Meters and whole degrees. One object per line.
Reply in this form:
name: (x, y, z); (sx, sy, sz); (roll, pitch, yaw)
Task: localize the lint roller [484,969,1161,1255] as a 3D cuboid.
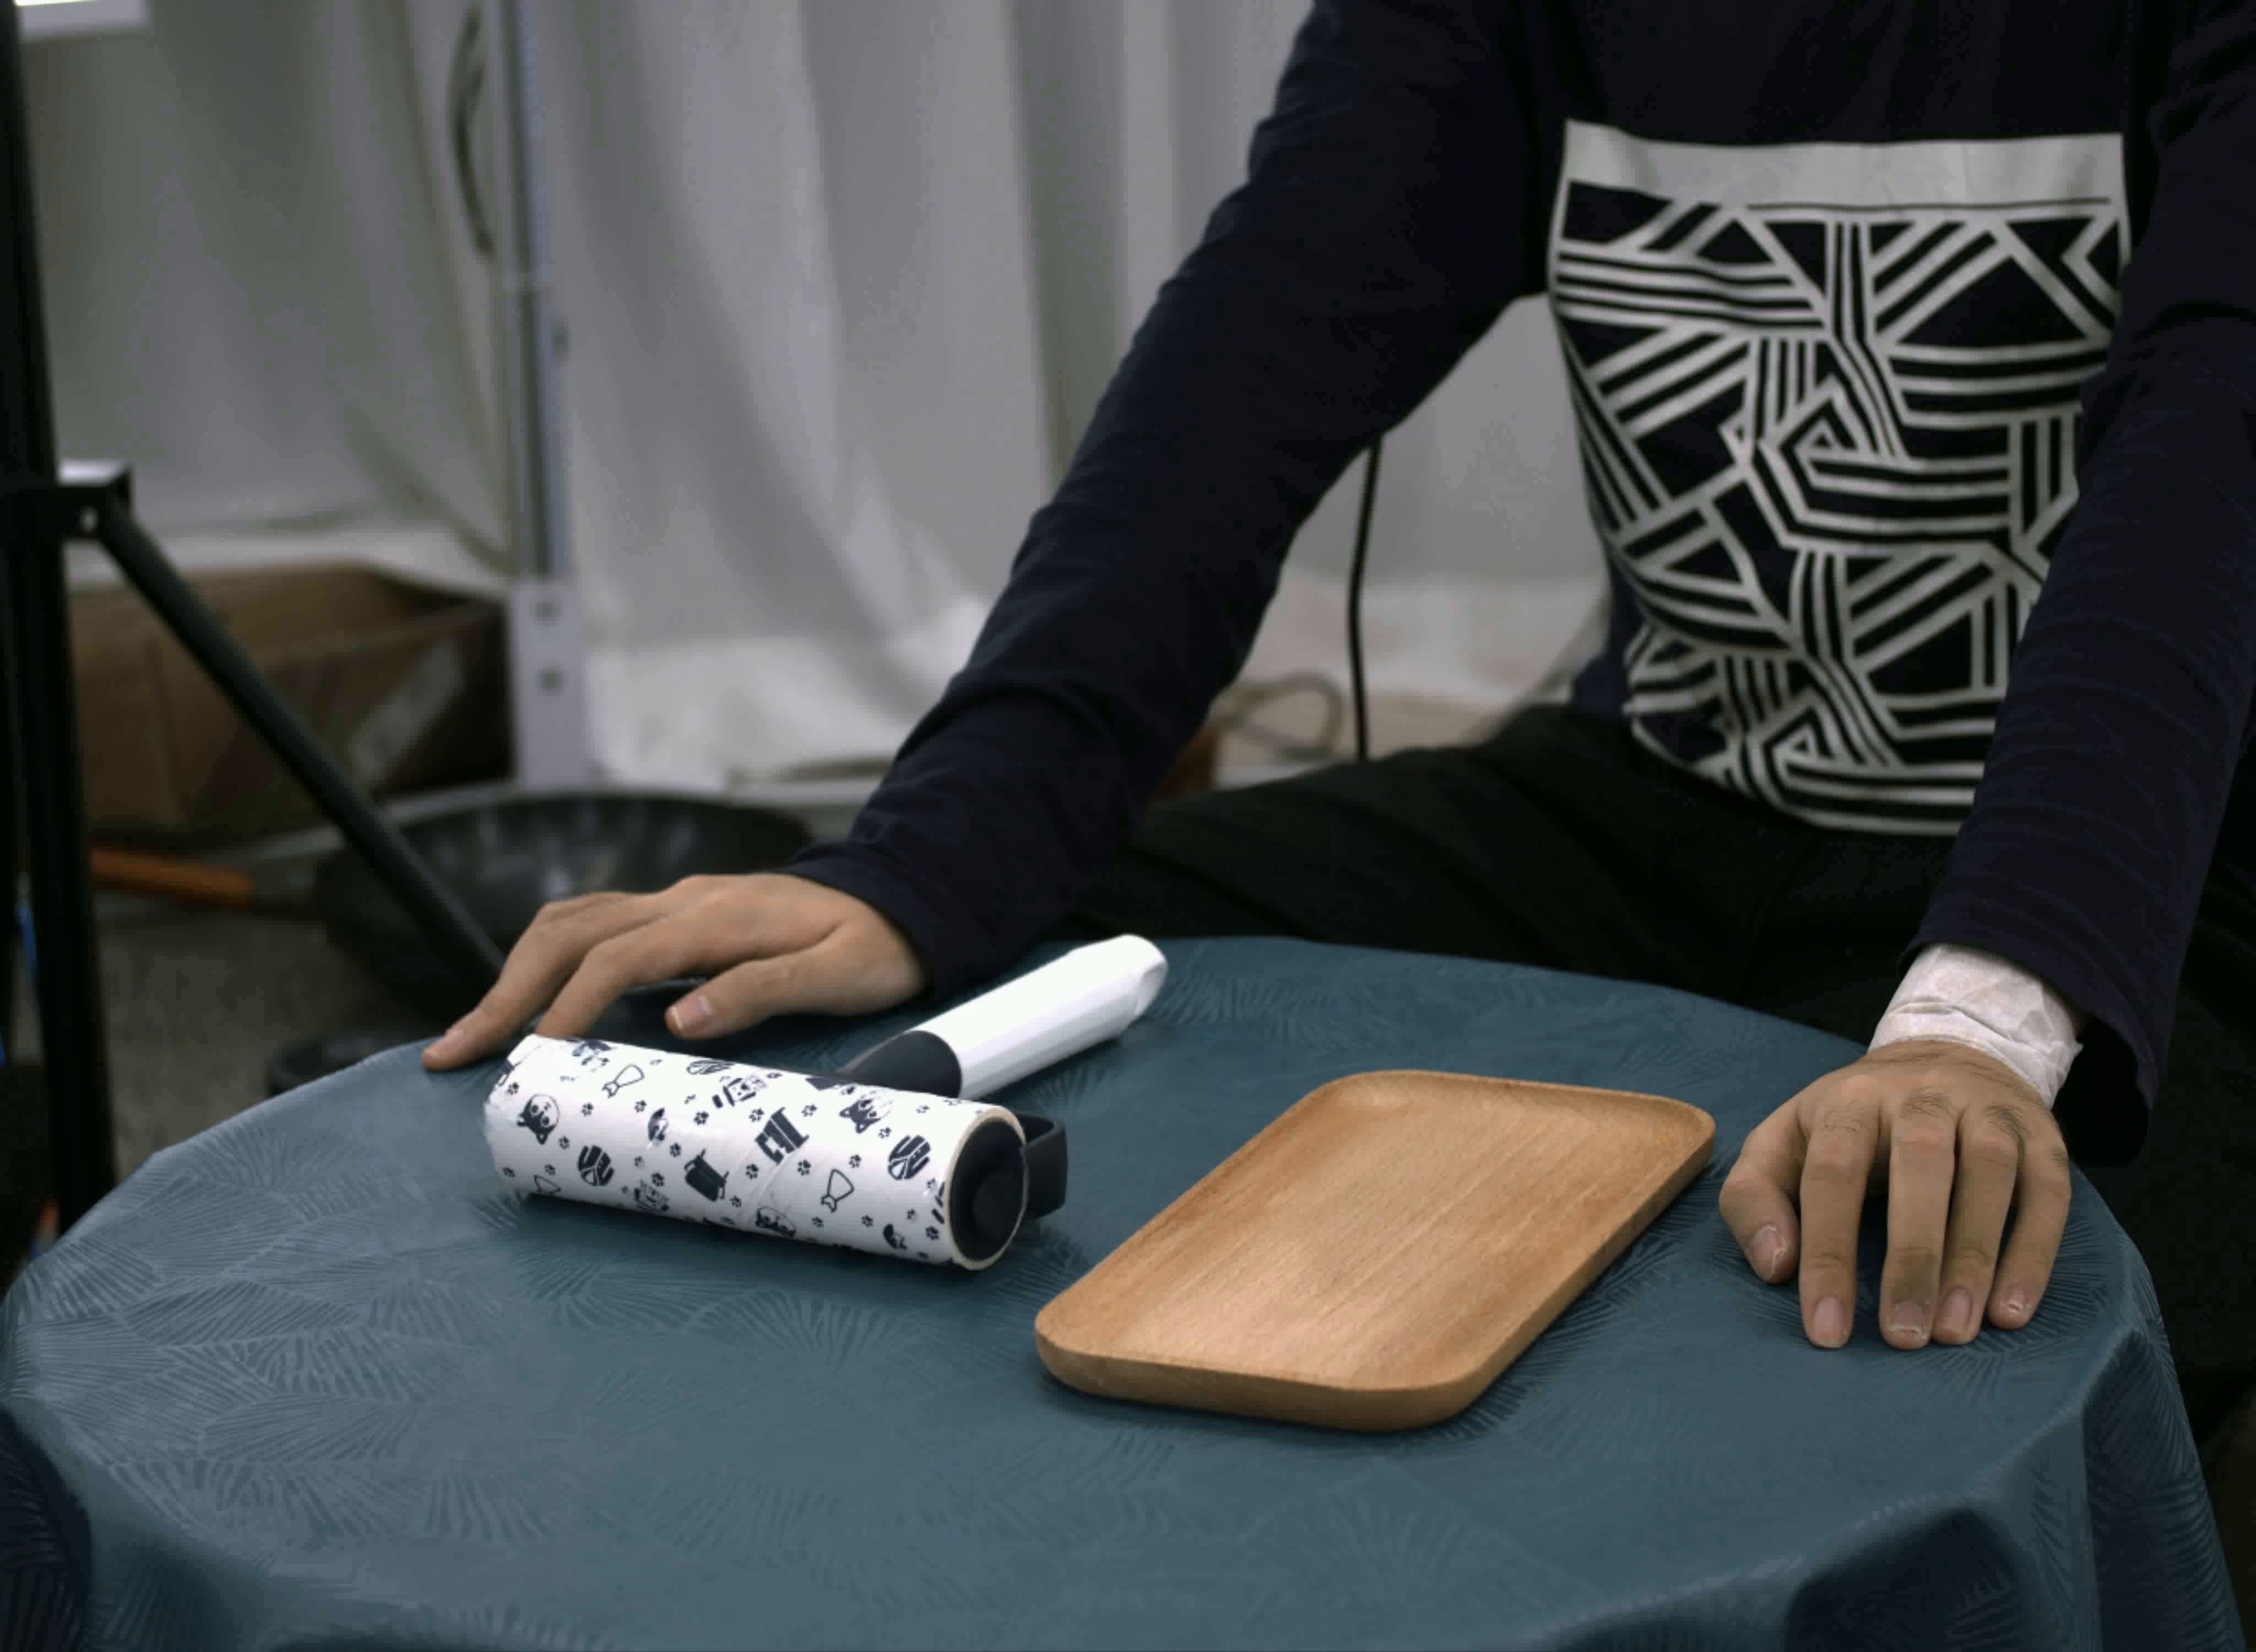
lint roller: (-0.059, 0.072, 1.627); (0.179, 0.050, 0.242); (6, 15, 30)

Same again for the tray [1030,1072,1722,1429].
tray: (0.074, 0.117, 1.492); (0.132, 0.023, 0.246); (8, 17, 25)
